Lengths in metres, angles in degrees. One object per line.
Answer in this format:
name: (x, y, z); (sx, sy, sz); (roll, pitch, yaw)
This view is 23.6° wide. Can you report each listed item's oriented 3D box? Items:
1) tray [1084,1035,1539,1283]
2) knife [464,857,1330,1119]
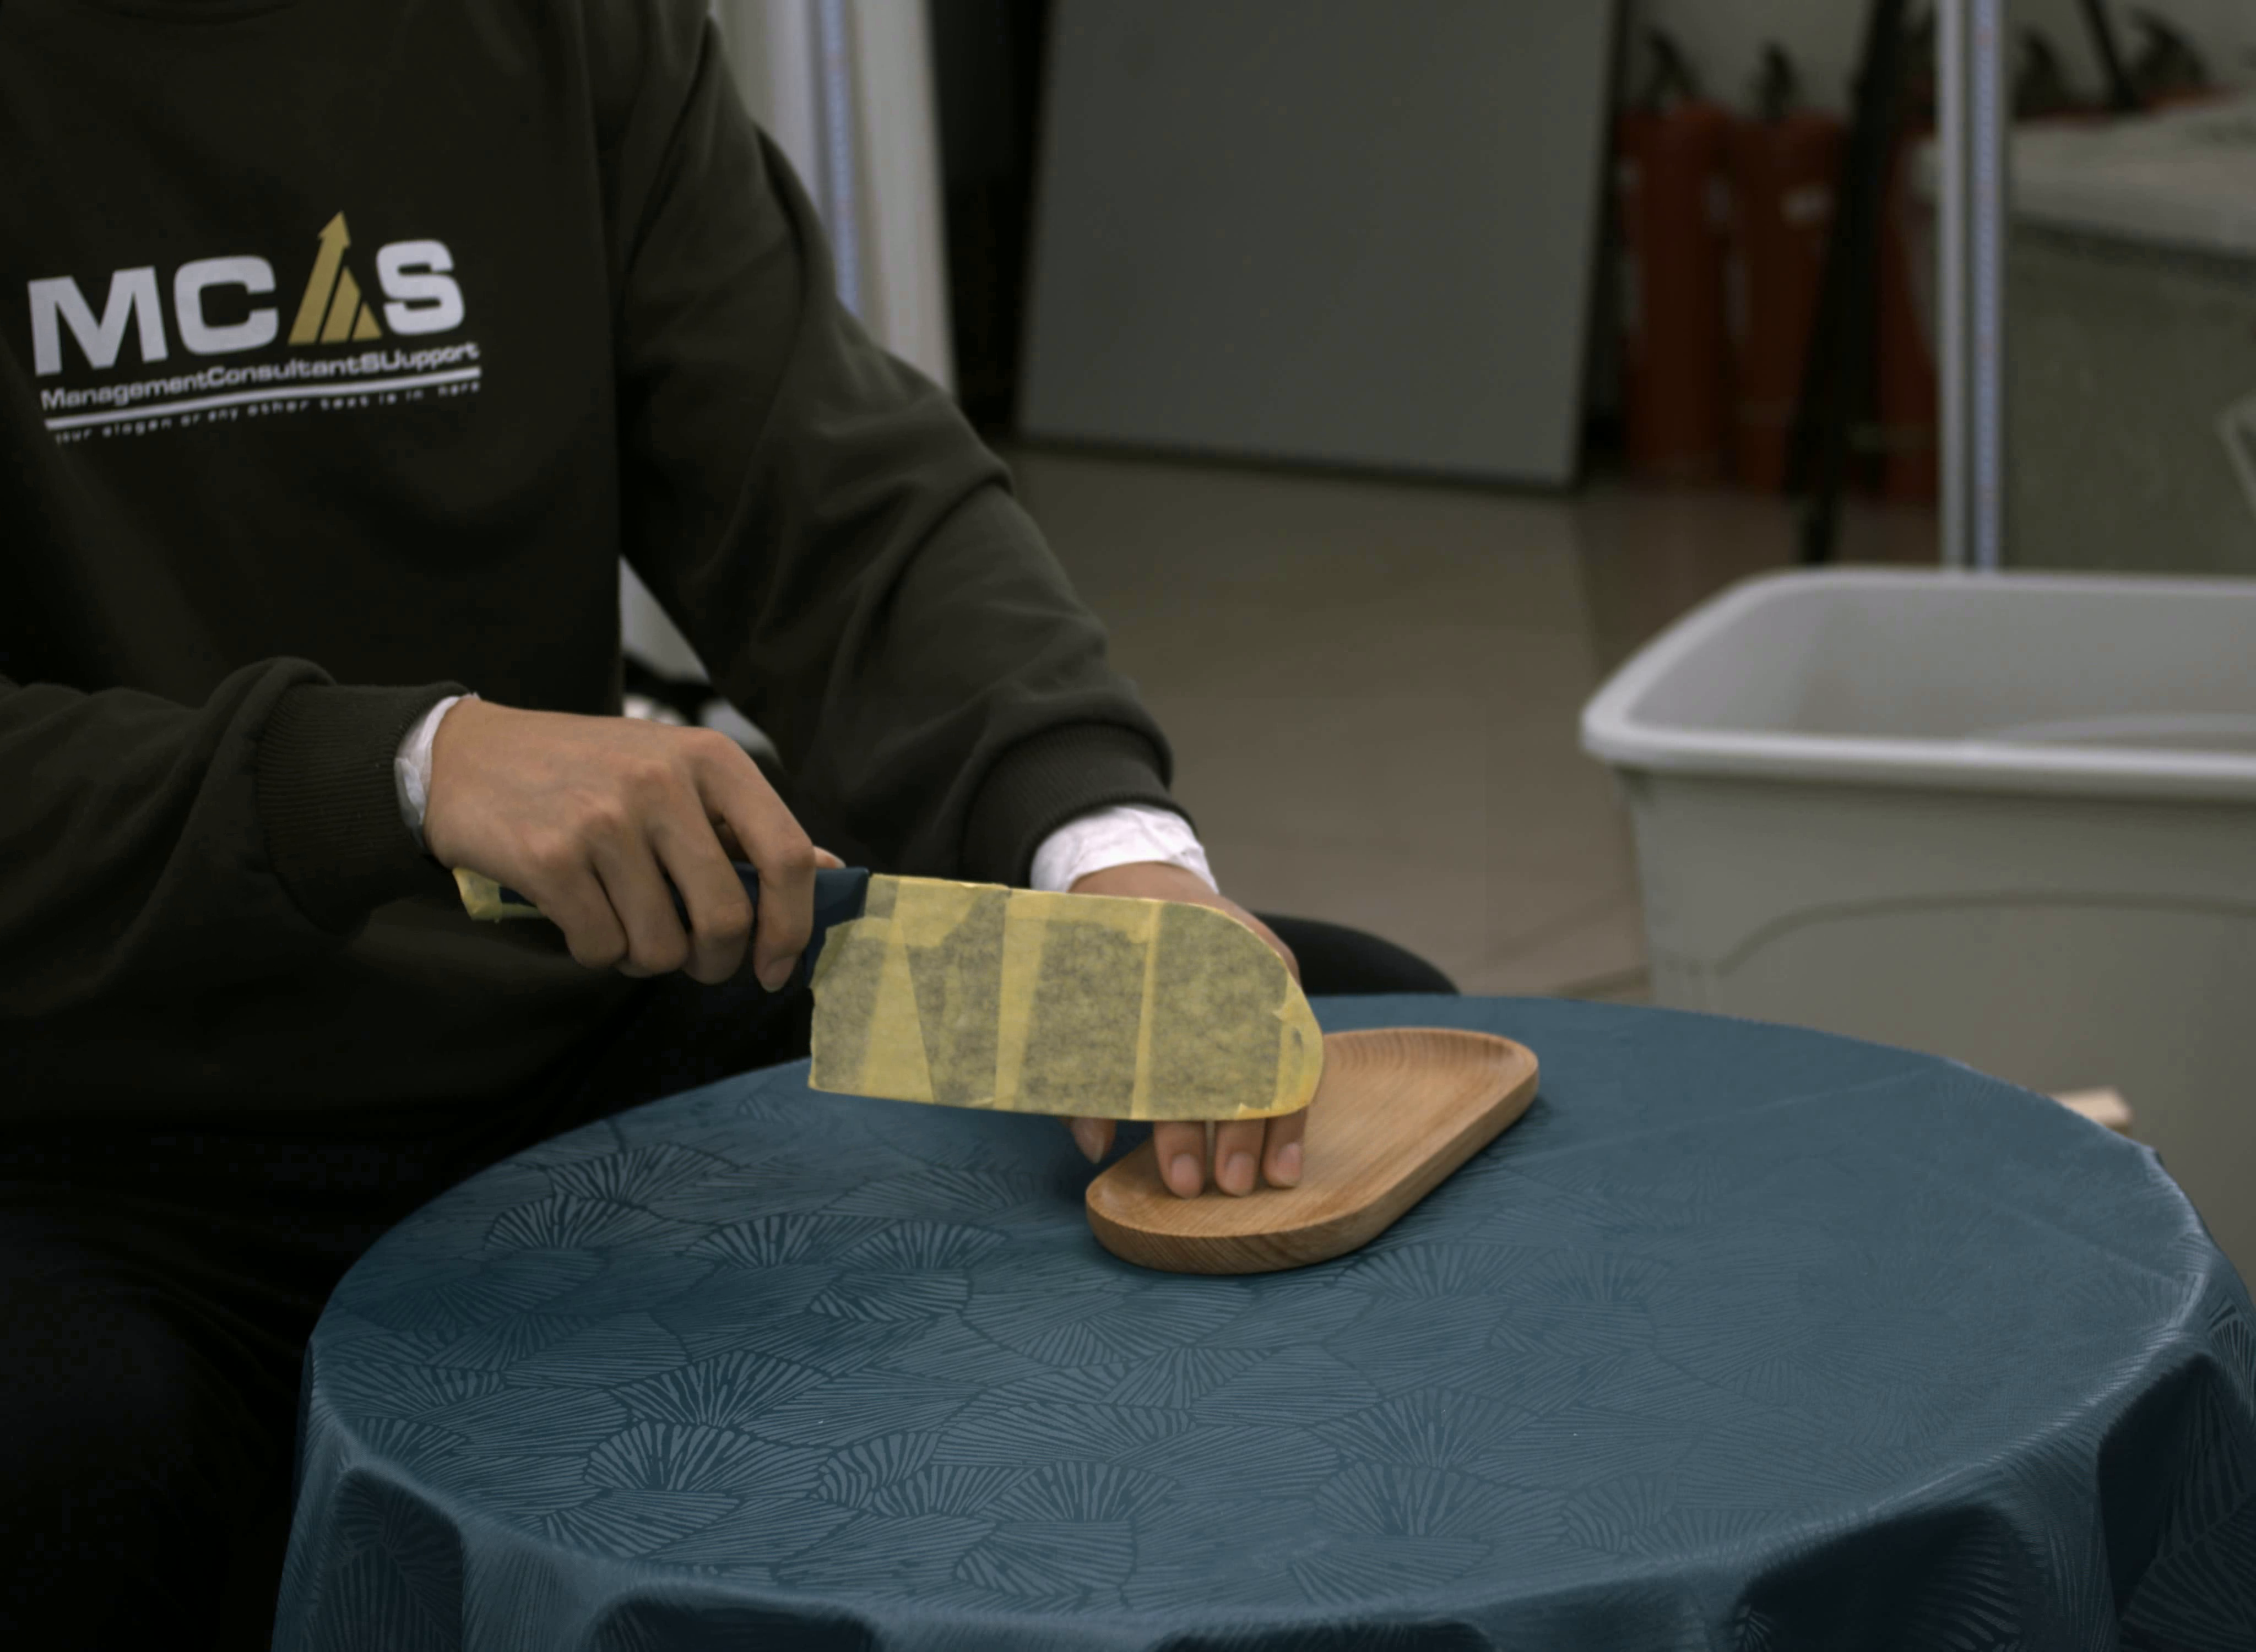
tray: (0.063, 0.108, 1.778); (0.102, 0.020, 0.228); (0, 16, 26)
knife: (-0.075, 0.051, 1.744); (0.287, 0.082, 0.027); (8, -2, 6)
